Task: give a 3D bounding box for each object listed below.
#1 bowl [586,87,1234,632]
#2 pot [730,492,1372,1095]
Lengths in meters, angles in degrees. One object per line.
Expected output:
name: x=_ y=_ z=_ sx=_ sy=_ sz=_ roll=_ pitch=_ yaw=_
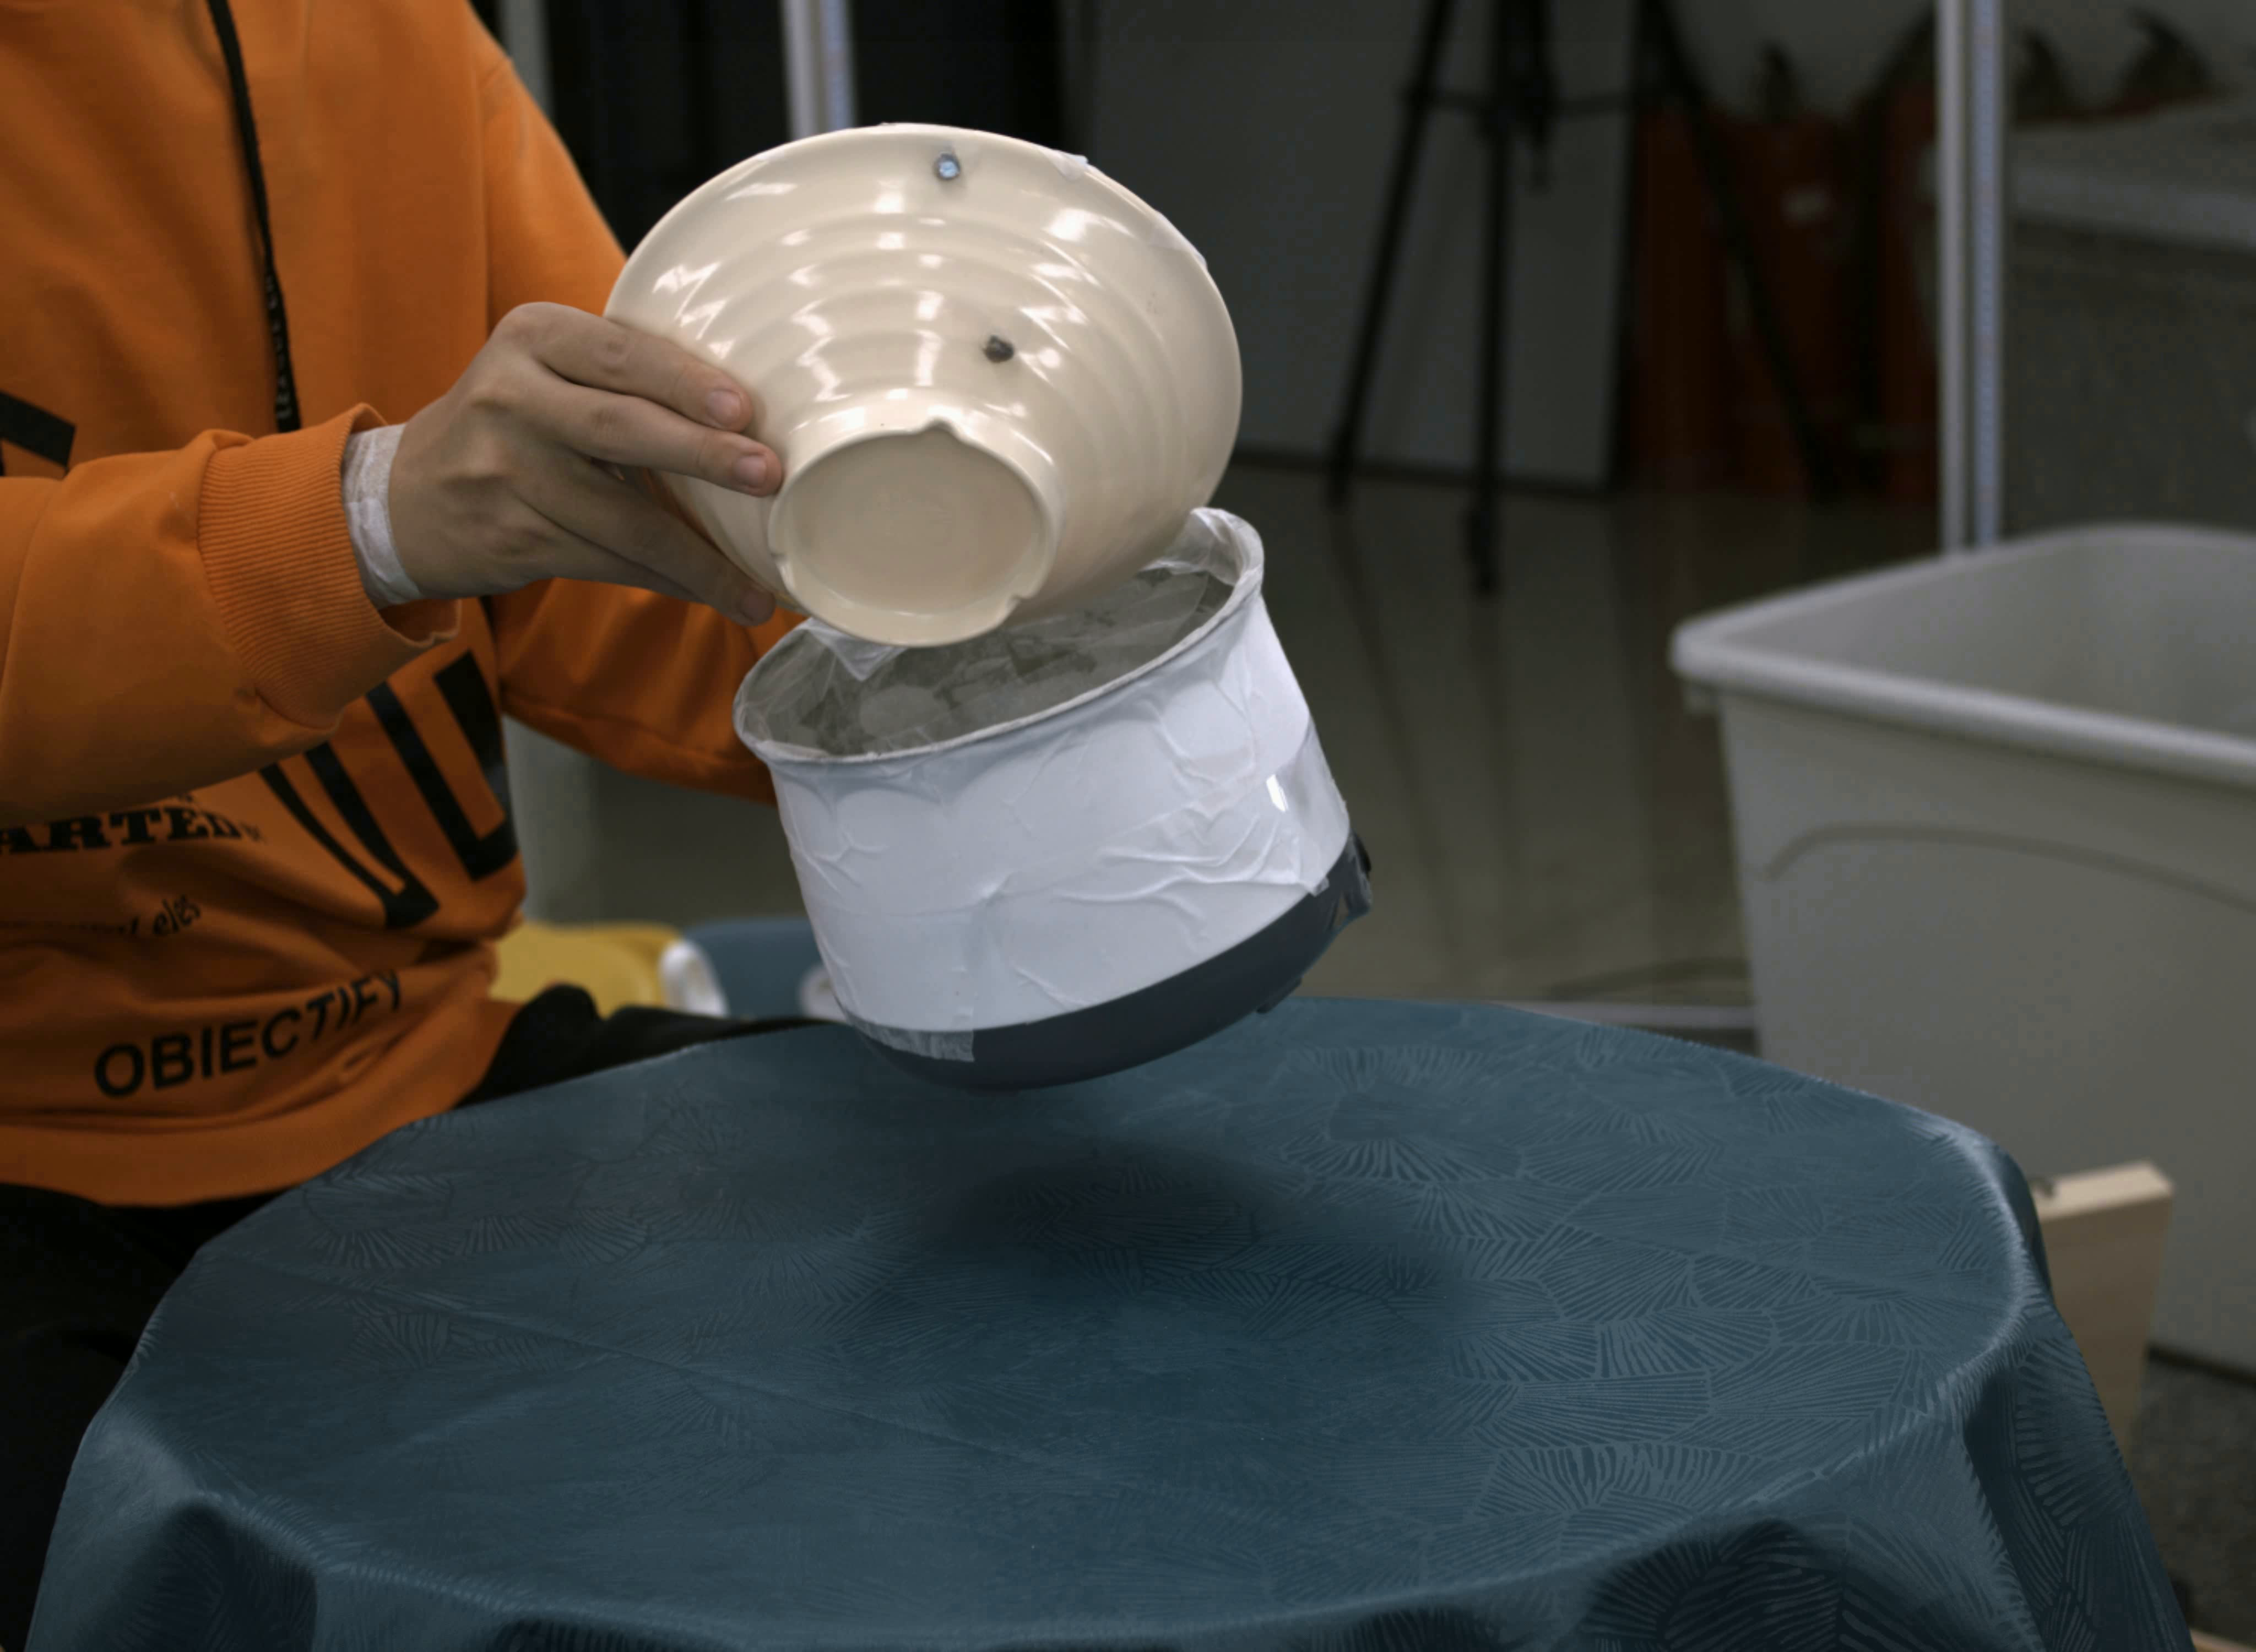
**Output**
bowl: x=-0.066 y=-0.118 z=1.650 sx=0.201 sy=0.205 sz=0.078 roll=-3 pitch=42 yaw=1
pot: x=-0.027 y=-0.019 z=1.734 sx=0.177 sy=0.137 sz=0.235 roll=-19 pitch=21 yaw=-1
